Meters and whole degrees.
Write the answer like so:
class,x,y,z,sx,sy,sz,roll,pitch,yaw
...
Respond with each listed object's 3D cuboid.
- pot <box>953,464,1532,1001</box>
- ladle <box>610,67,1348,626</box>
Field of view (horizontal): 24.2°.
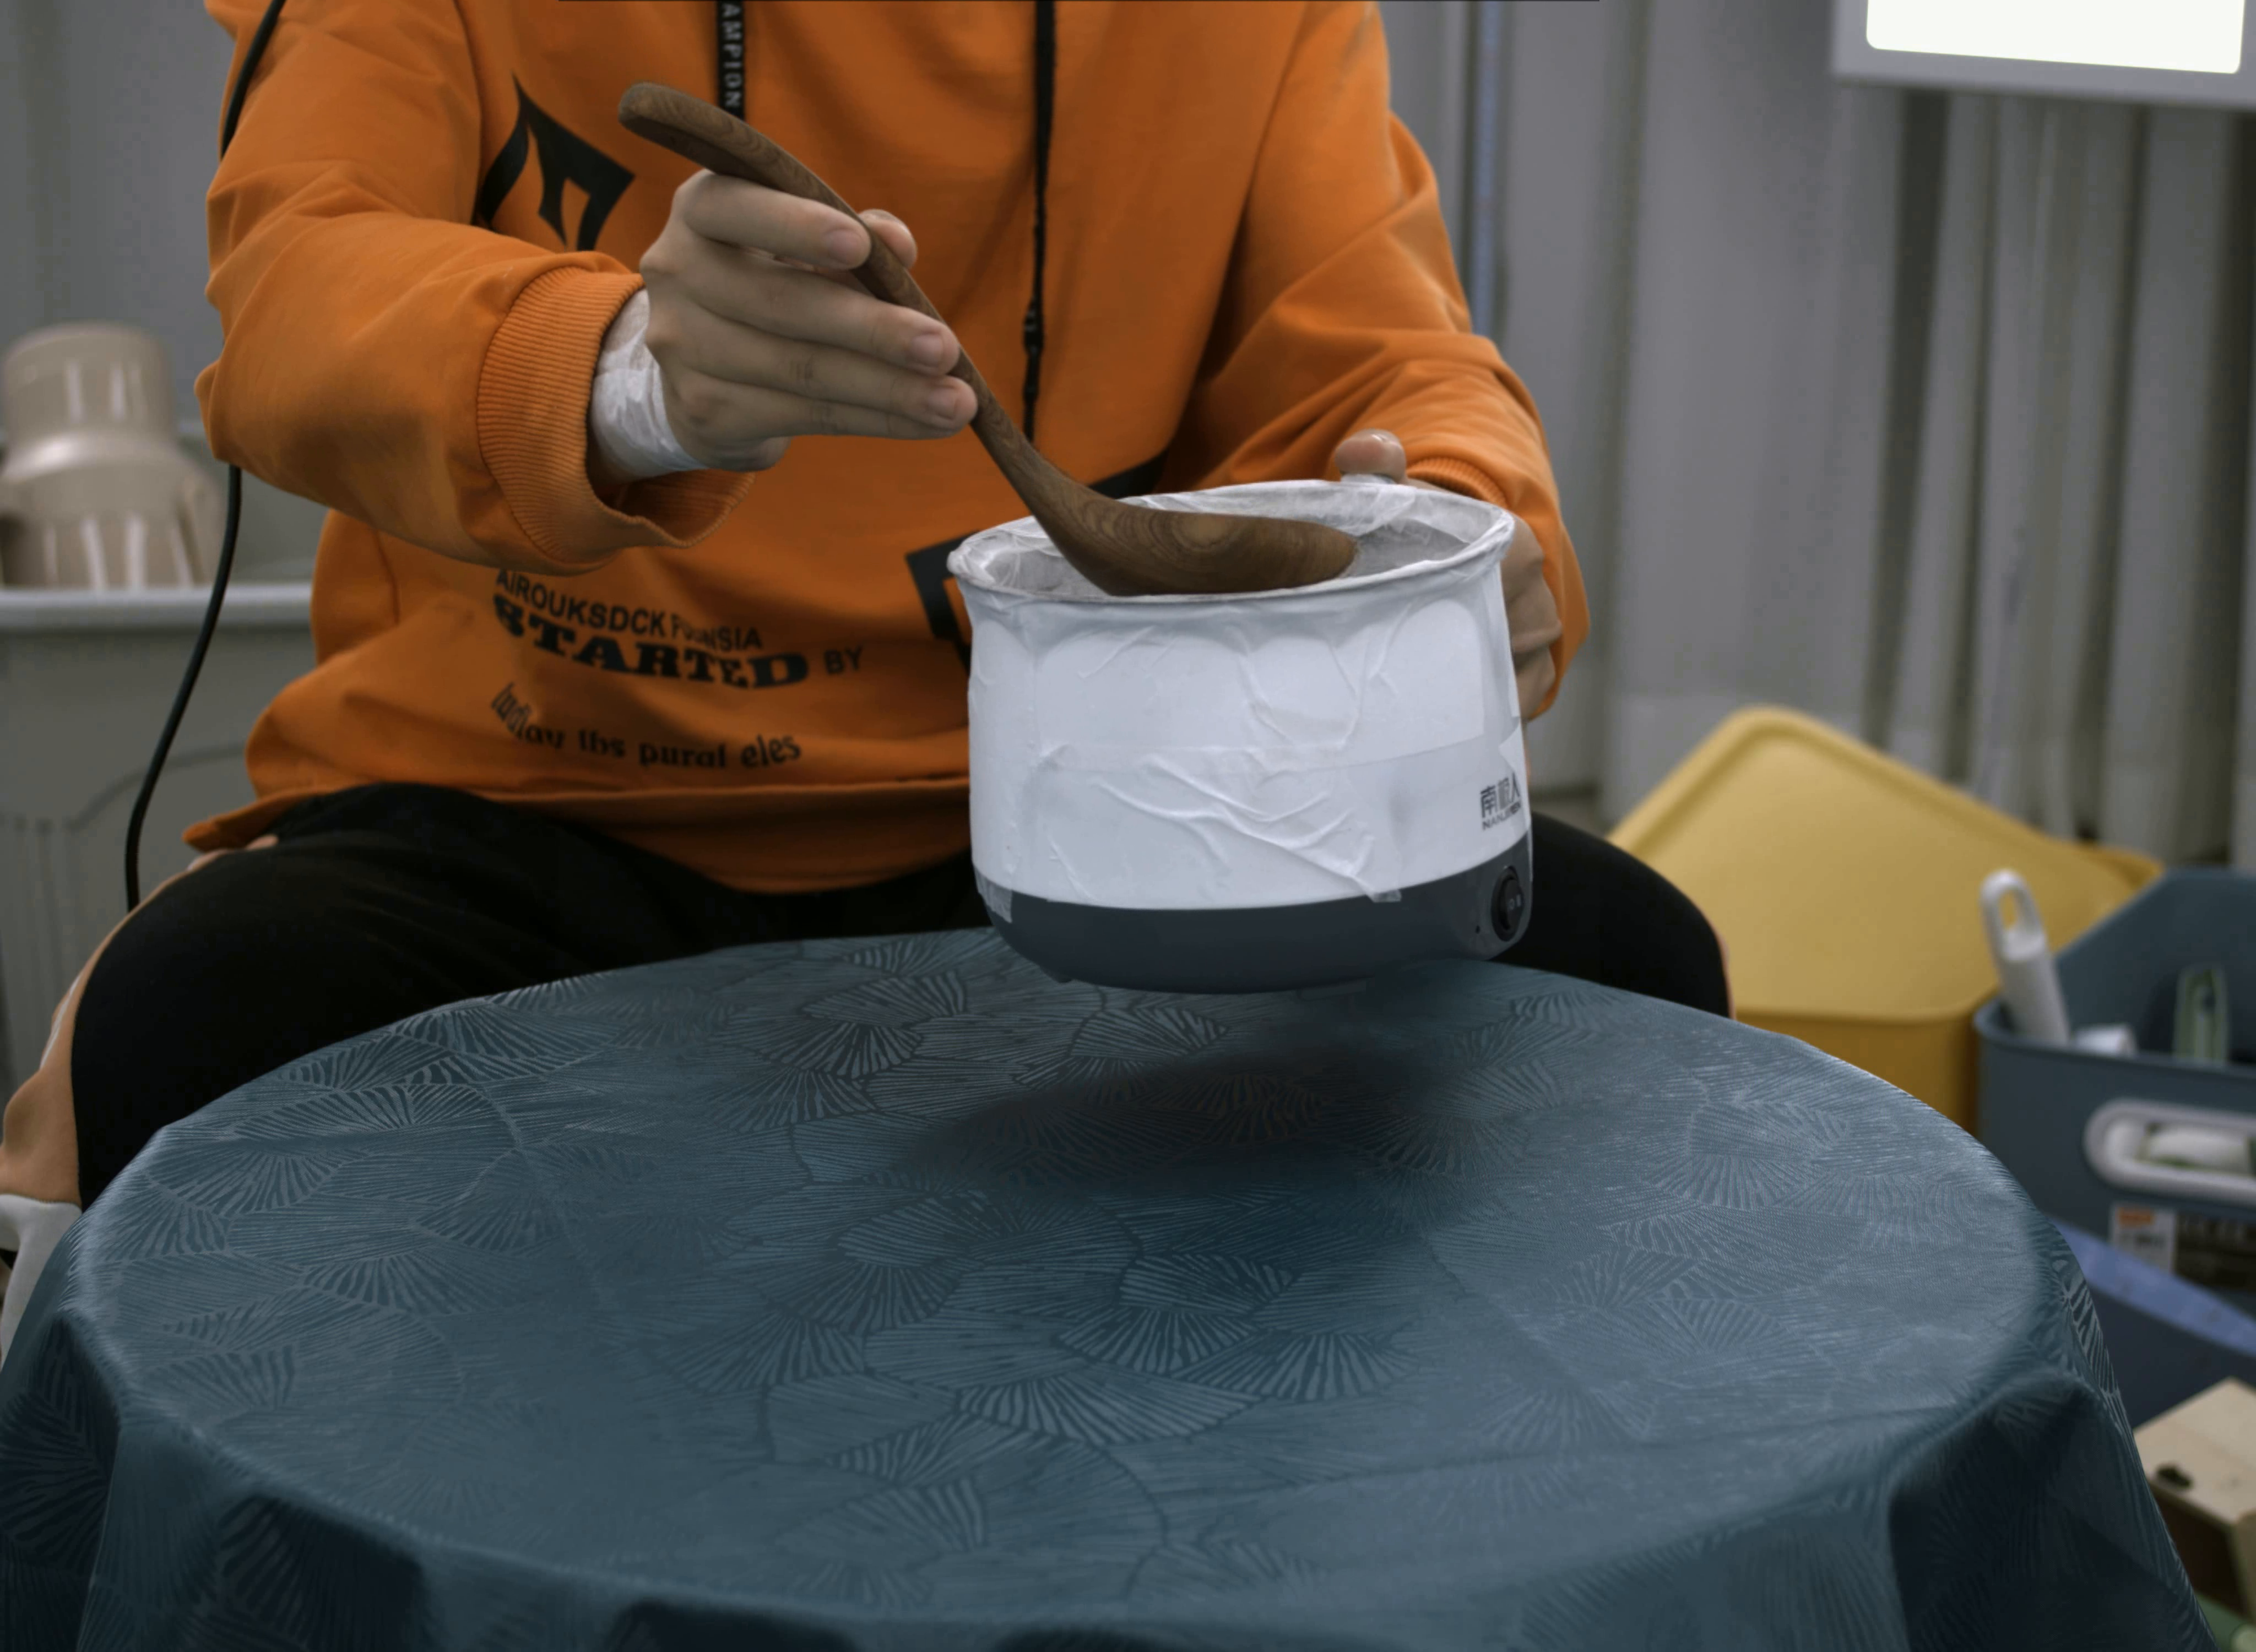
class,x,y,z,sx,sy,sz,roll,pitch,yaw
pot,0.049,-0.035,1.677,0.177,0.138,0.234,3,16,25
ladle,-0.042,-0.148,1.571,0.065,0.261,0.076,-49,7,-23
